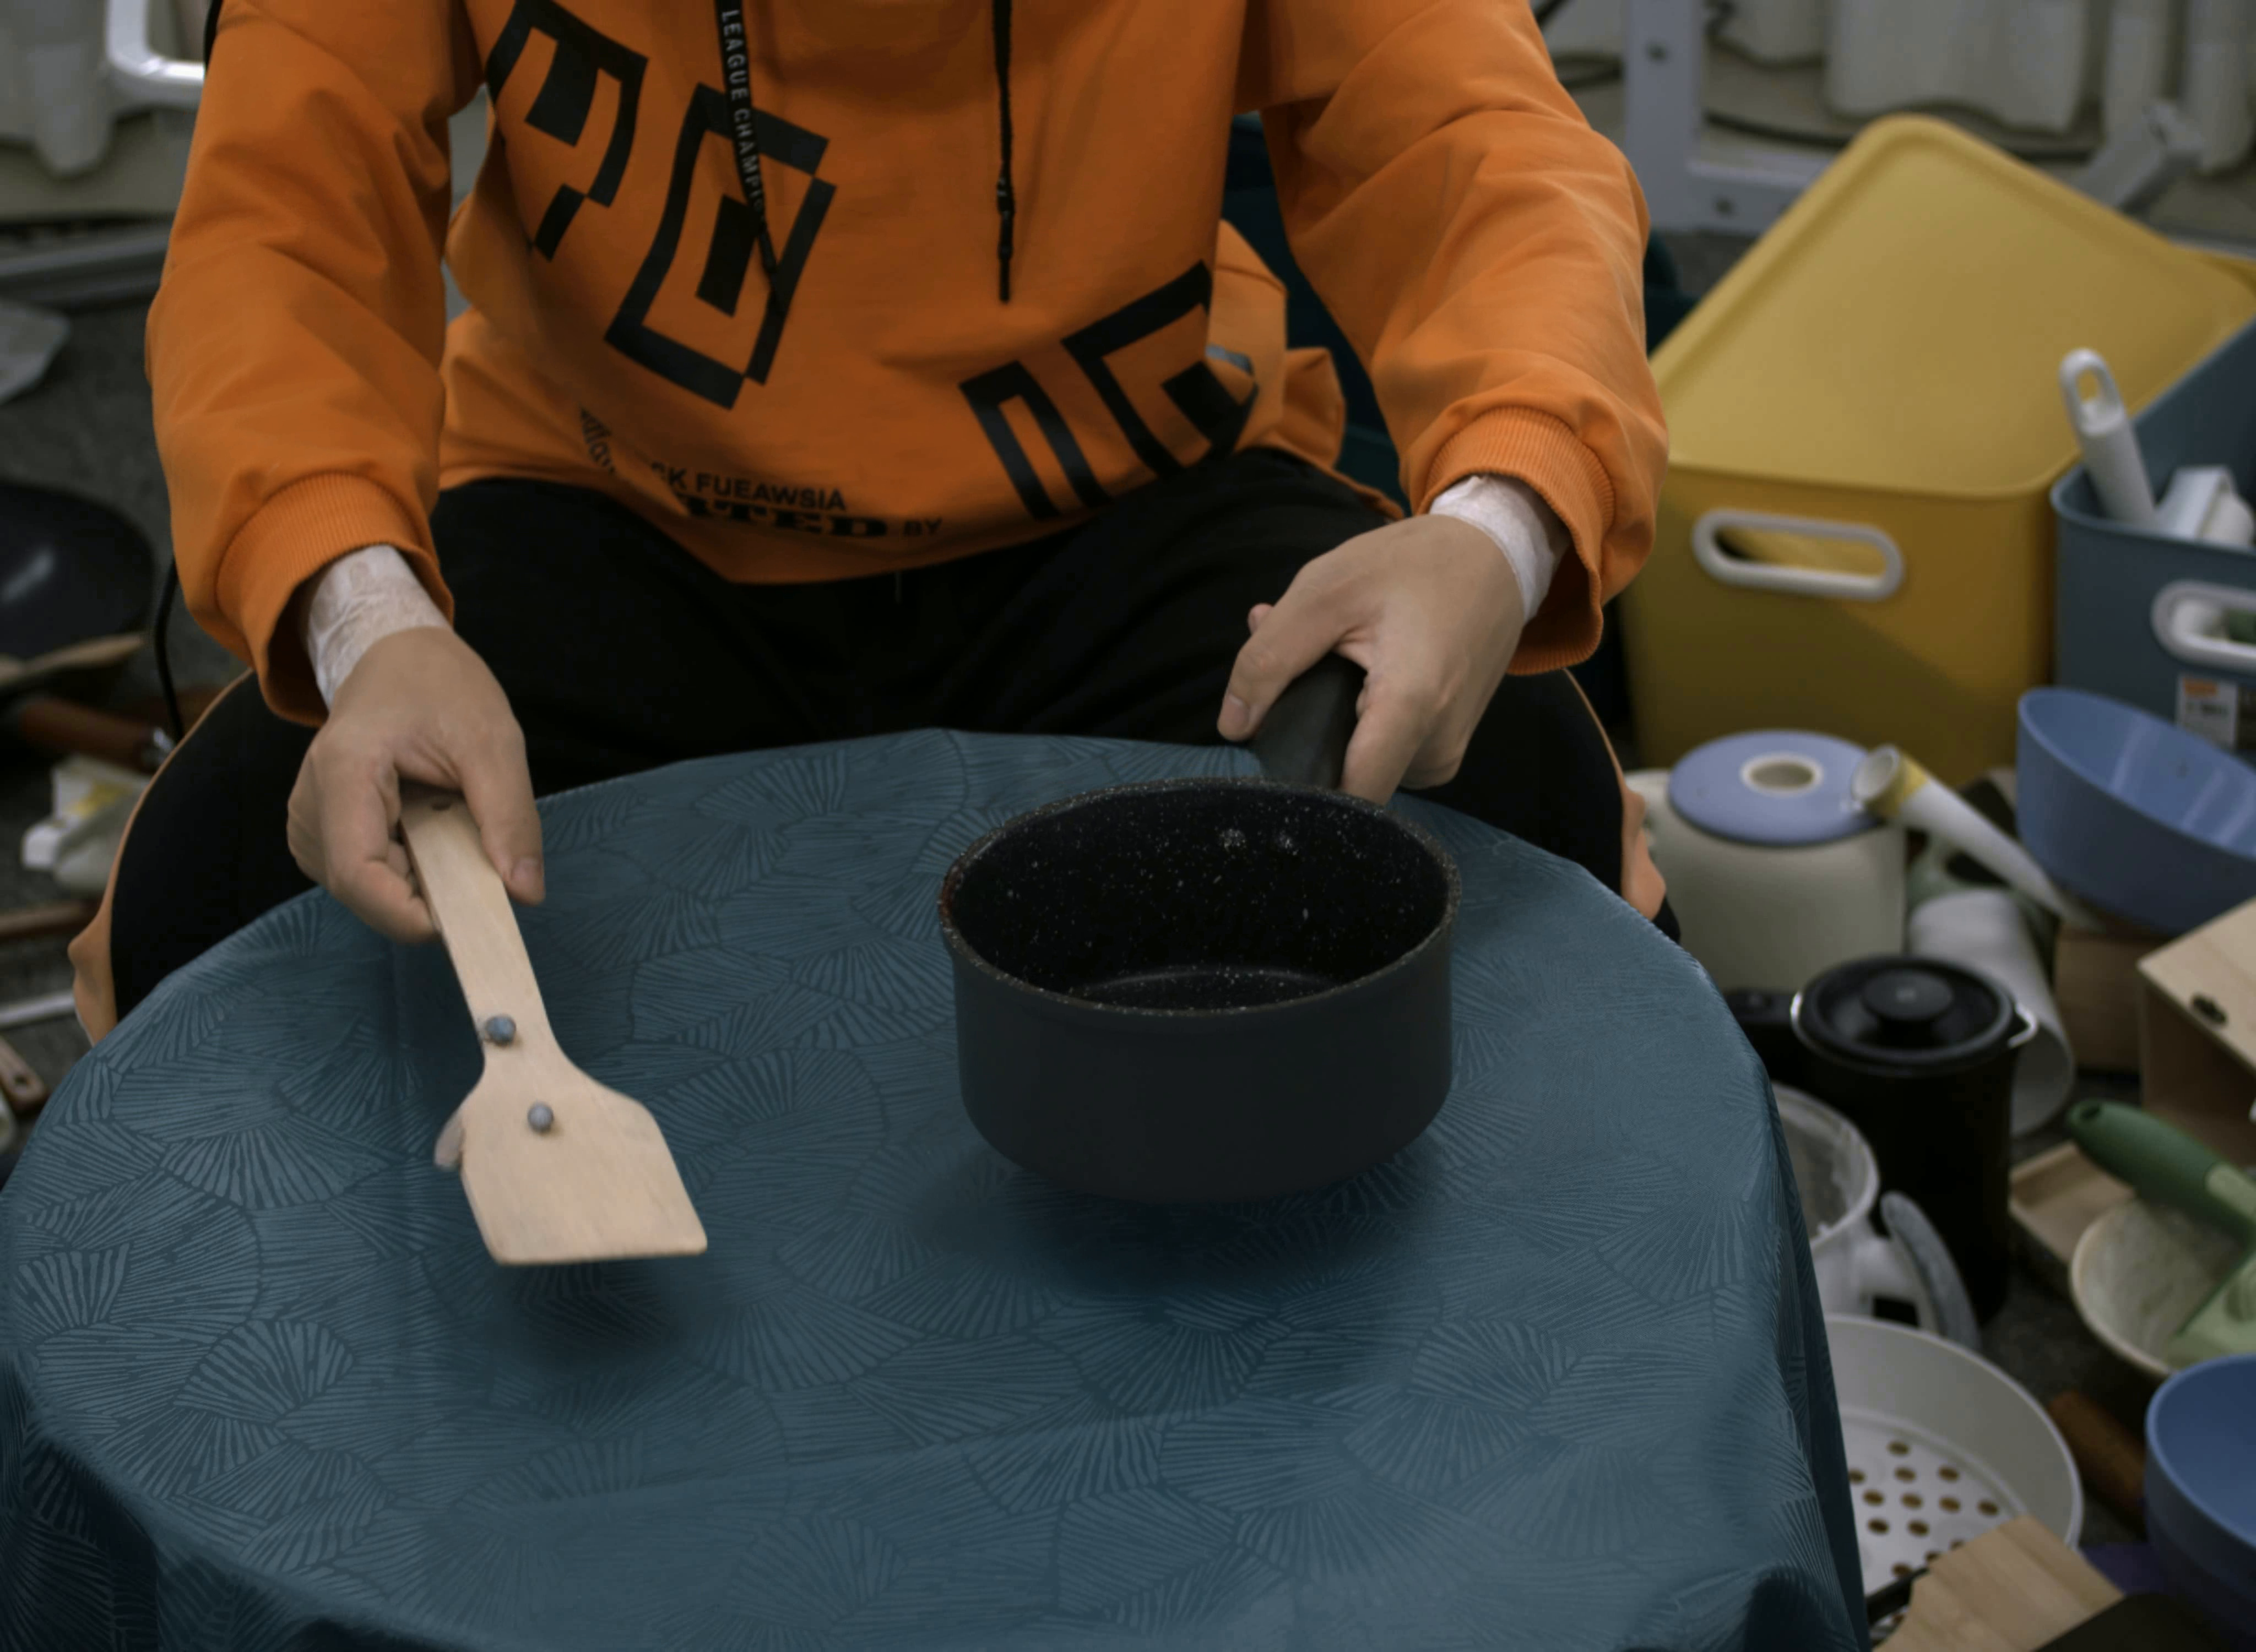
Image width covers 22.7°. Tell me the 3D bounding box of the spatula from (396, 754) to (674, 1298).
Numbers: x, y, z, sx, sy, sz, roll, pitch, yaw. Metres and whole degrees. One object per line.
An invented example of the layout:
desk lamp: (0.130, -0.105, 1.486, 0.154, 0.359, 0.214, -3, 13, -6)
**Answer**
spatula: (-0.214, 0.063, 1.895, 0.072, 0.010, 0.297, -7, 37, -13)

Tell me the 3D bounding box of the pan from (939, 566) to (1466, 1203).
pan: (0.049, 0.016, 1.909, 0.171, 0.085, 0.334, 7, 28, 16)
